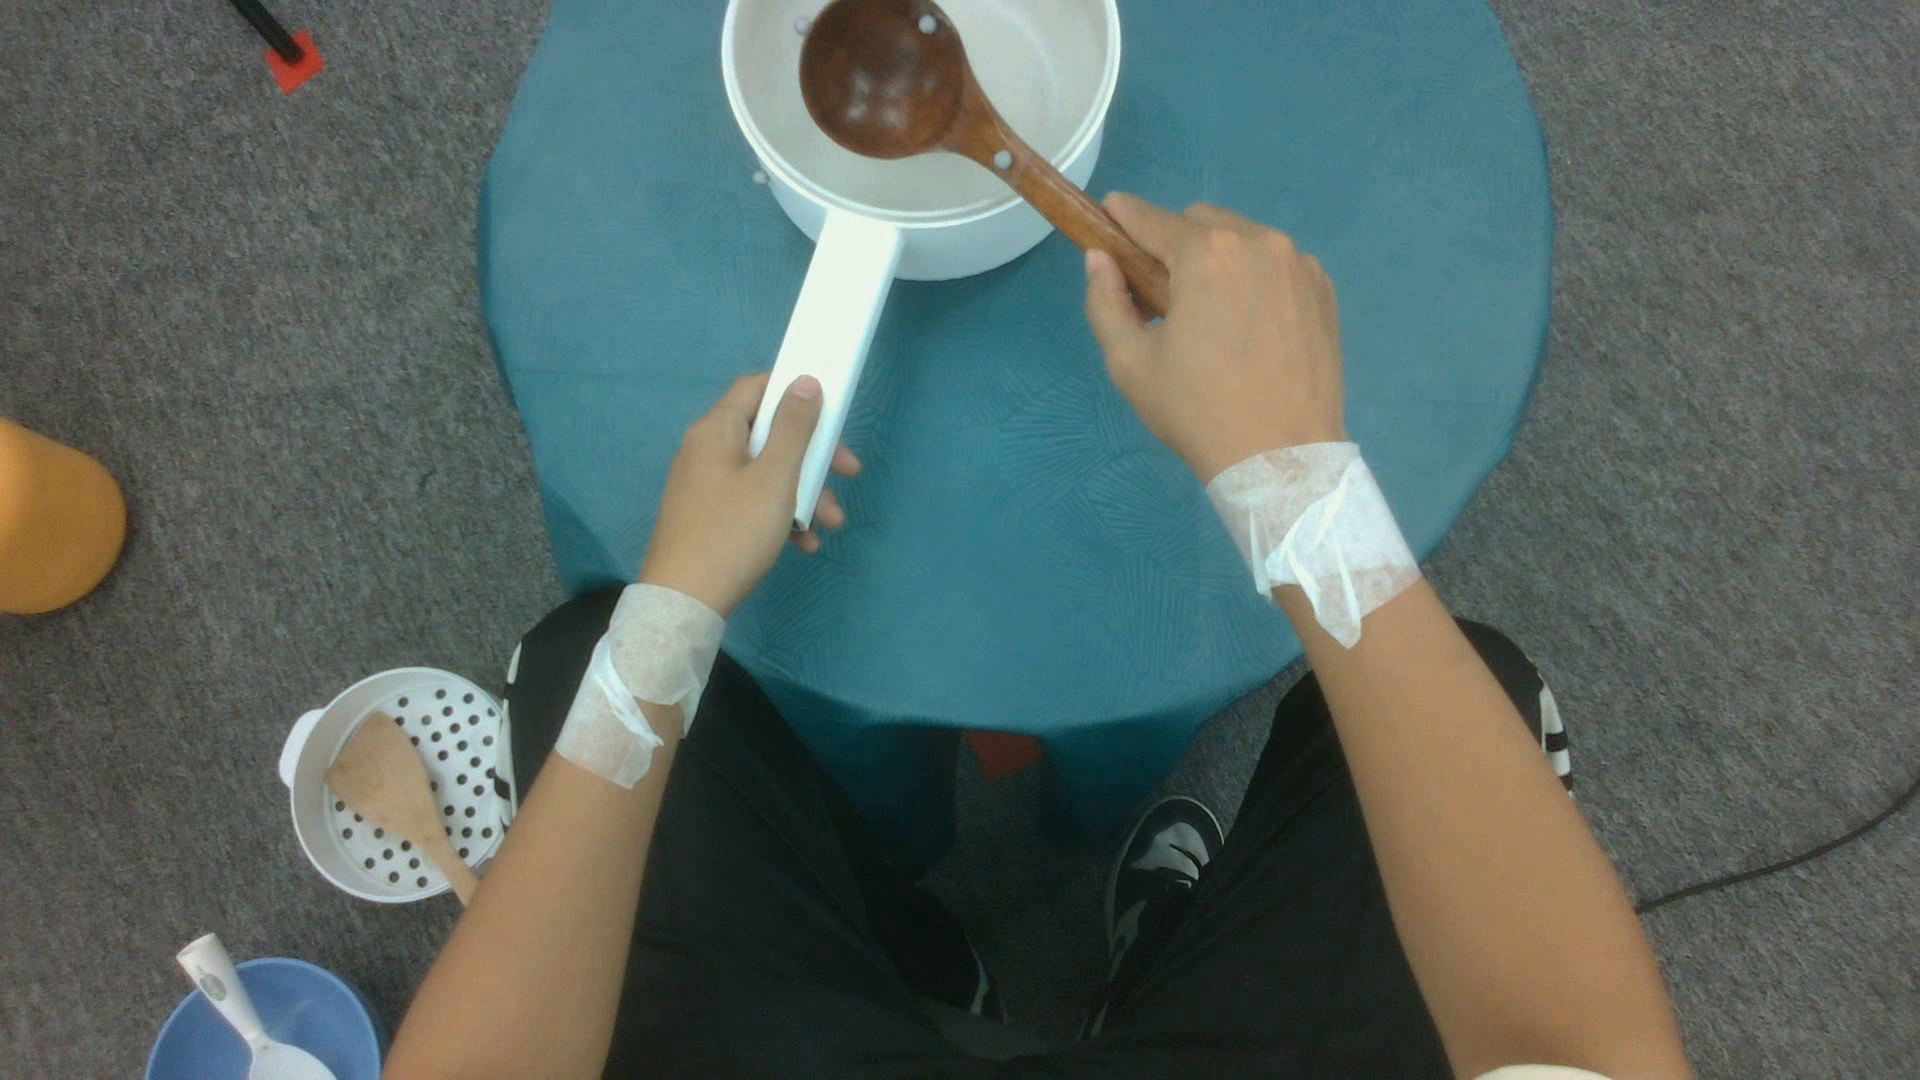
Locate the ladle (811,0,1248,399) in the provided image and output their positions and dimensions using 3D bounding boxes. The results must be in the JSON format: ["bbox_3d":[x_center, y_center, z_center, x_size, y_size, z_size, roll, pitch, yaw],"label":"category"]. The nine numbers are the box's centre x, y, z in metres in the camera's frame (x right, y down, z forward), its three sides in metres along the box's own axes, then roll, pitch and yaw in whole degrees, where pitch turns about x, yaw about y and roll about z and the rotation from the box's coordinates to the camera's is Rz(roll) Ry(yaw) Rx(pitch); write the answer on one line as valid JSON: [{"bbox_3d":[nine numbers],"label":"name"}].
[{"bbox_3d":[0.021,-0.157,0.617,0.077,0.081,0.274,-4,44,-38],"label":"ladle"}]

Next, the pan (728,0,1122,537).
[{"bbox_3d":[-0.038,-0.165,0.741,0.201,0.102,0.355,16,78,6],"label":"pan"}]
